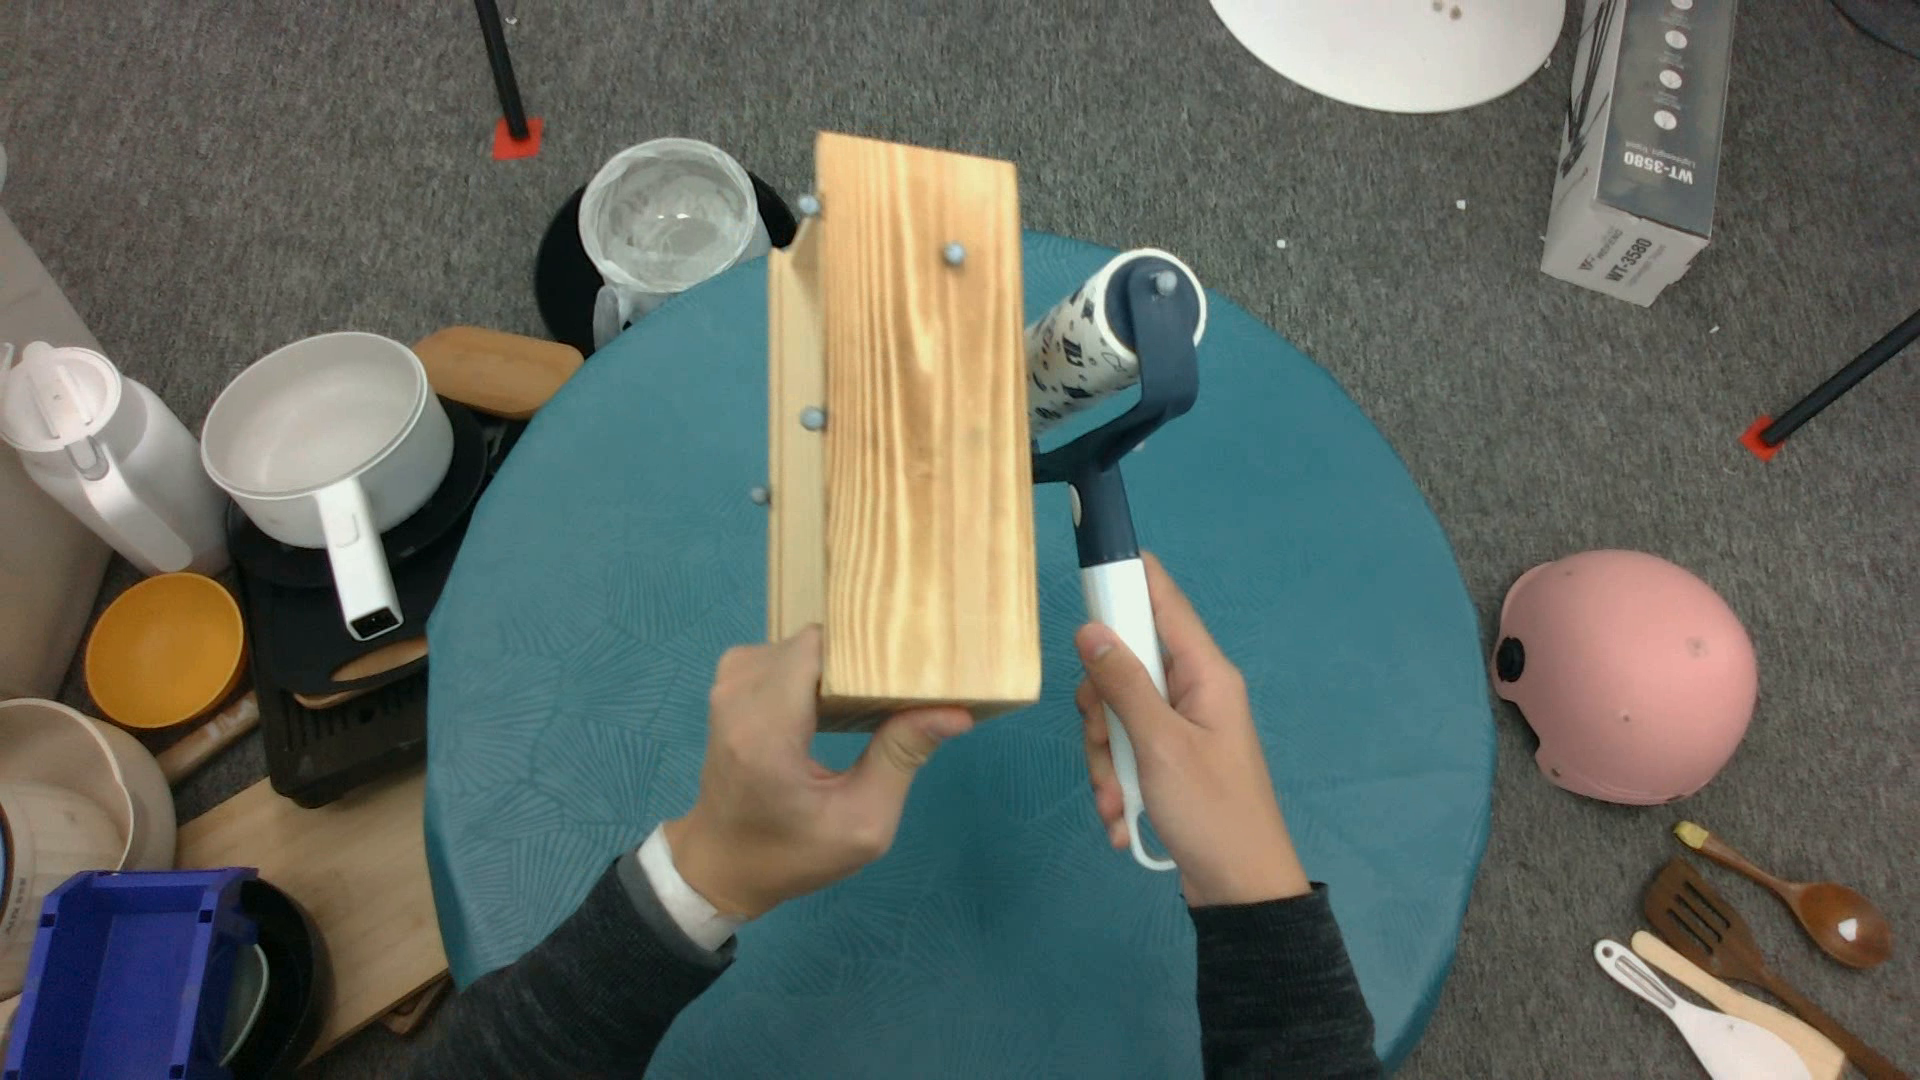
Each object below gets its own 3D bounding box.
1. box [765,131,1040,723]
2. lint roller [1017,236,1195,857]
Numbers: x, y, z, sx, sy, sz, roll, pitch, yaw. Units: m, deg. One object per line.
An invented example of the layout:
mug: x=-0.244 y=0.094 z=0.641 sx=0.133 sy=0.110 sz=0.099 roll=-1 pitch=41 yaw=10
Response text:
box: x=-0.027 y=-0.038 z=0.552 sx=0.080 sy=0.107 sz=0.212 roll=4 pitch=74 yaw=-19
lint roller: x=0.065 y=0.011 z=0.596 sx=0.050 sy=0.176 sz=0.247 roll=-12 pitch=88 yaw=-19
